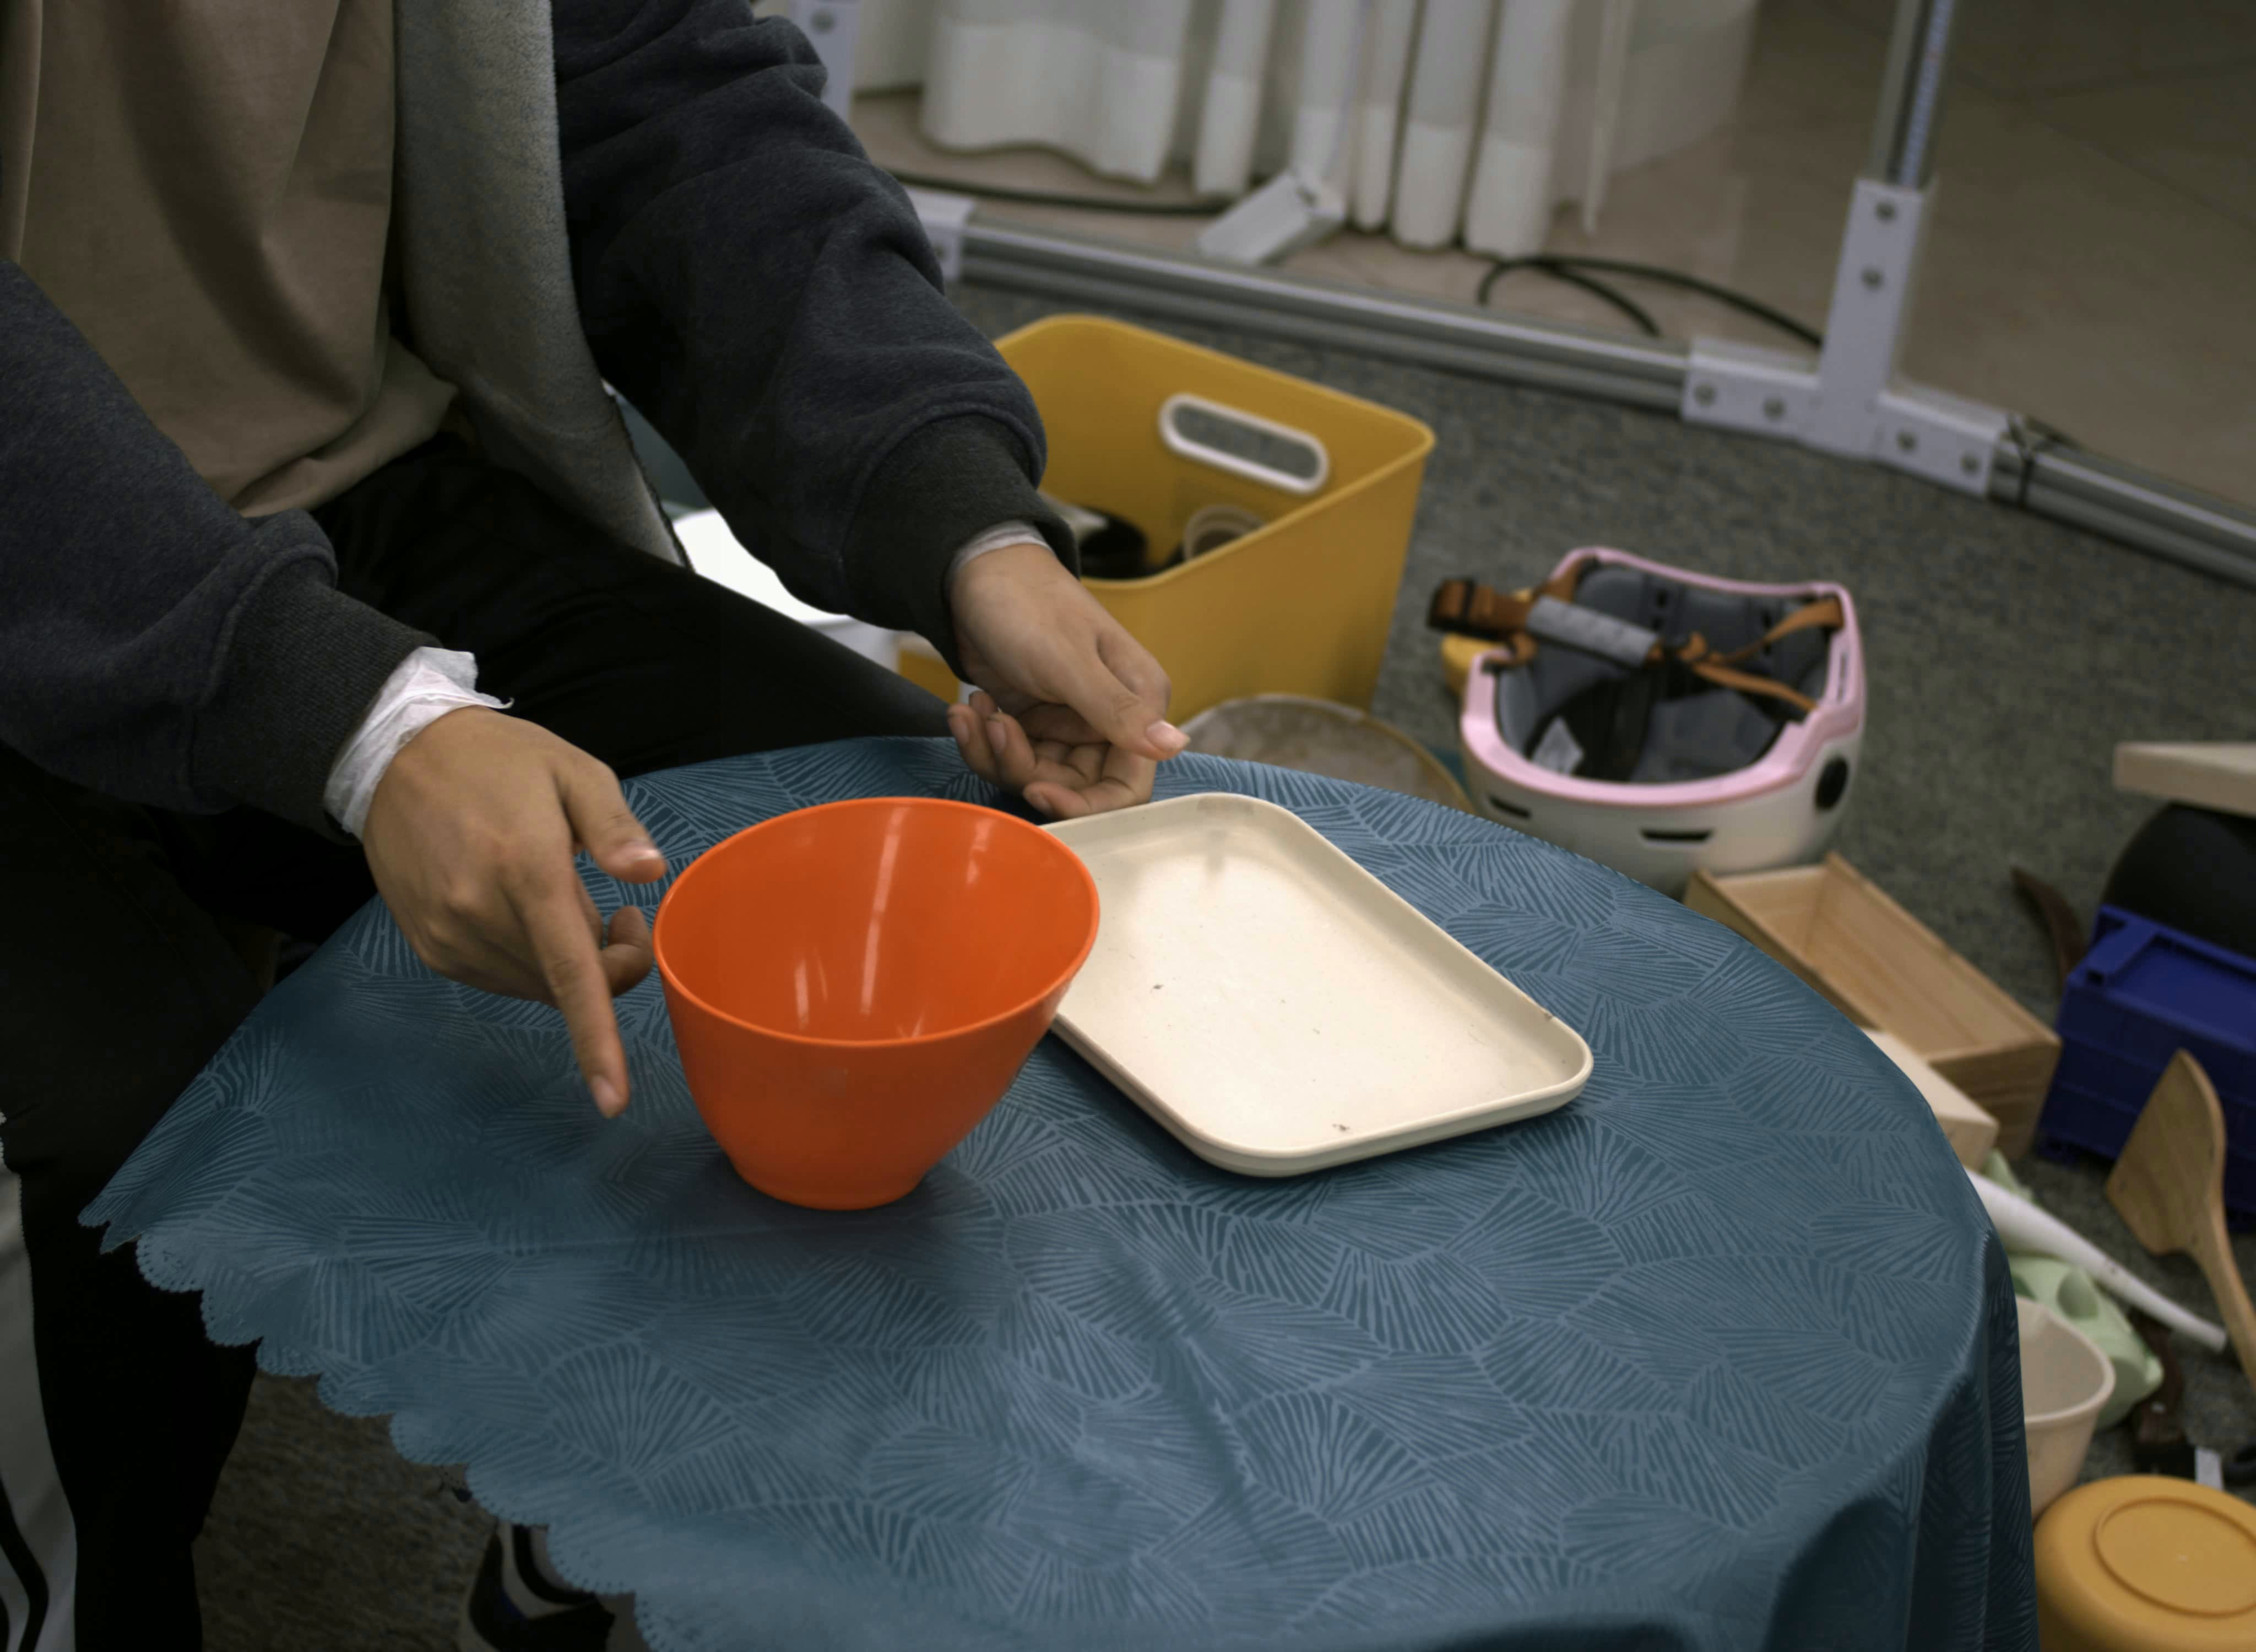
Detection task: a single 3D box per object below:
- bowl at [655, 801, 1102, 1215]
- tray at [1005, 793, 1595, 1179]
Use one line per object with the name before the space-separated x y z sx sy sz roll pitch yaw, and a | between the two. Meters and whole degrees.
bowl | -0.088 0.067 1.782 0.147 0.104 0.149 7 27 -4
tray | 0.042 0.056 1.924 0.170 0.017 0.242 -12 32 -31
